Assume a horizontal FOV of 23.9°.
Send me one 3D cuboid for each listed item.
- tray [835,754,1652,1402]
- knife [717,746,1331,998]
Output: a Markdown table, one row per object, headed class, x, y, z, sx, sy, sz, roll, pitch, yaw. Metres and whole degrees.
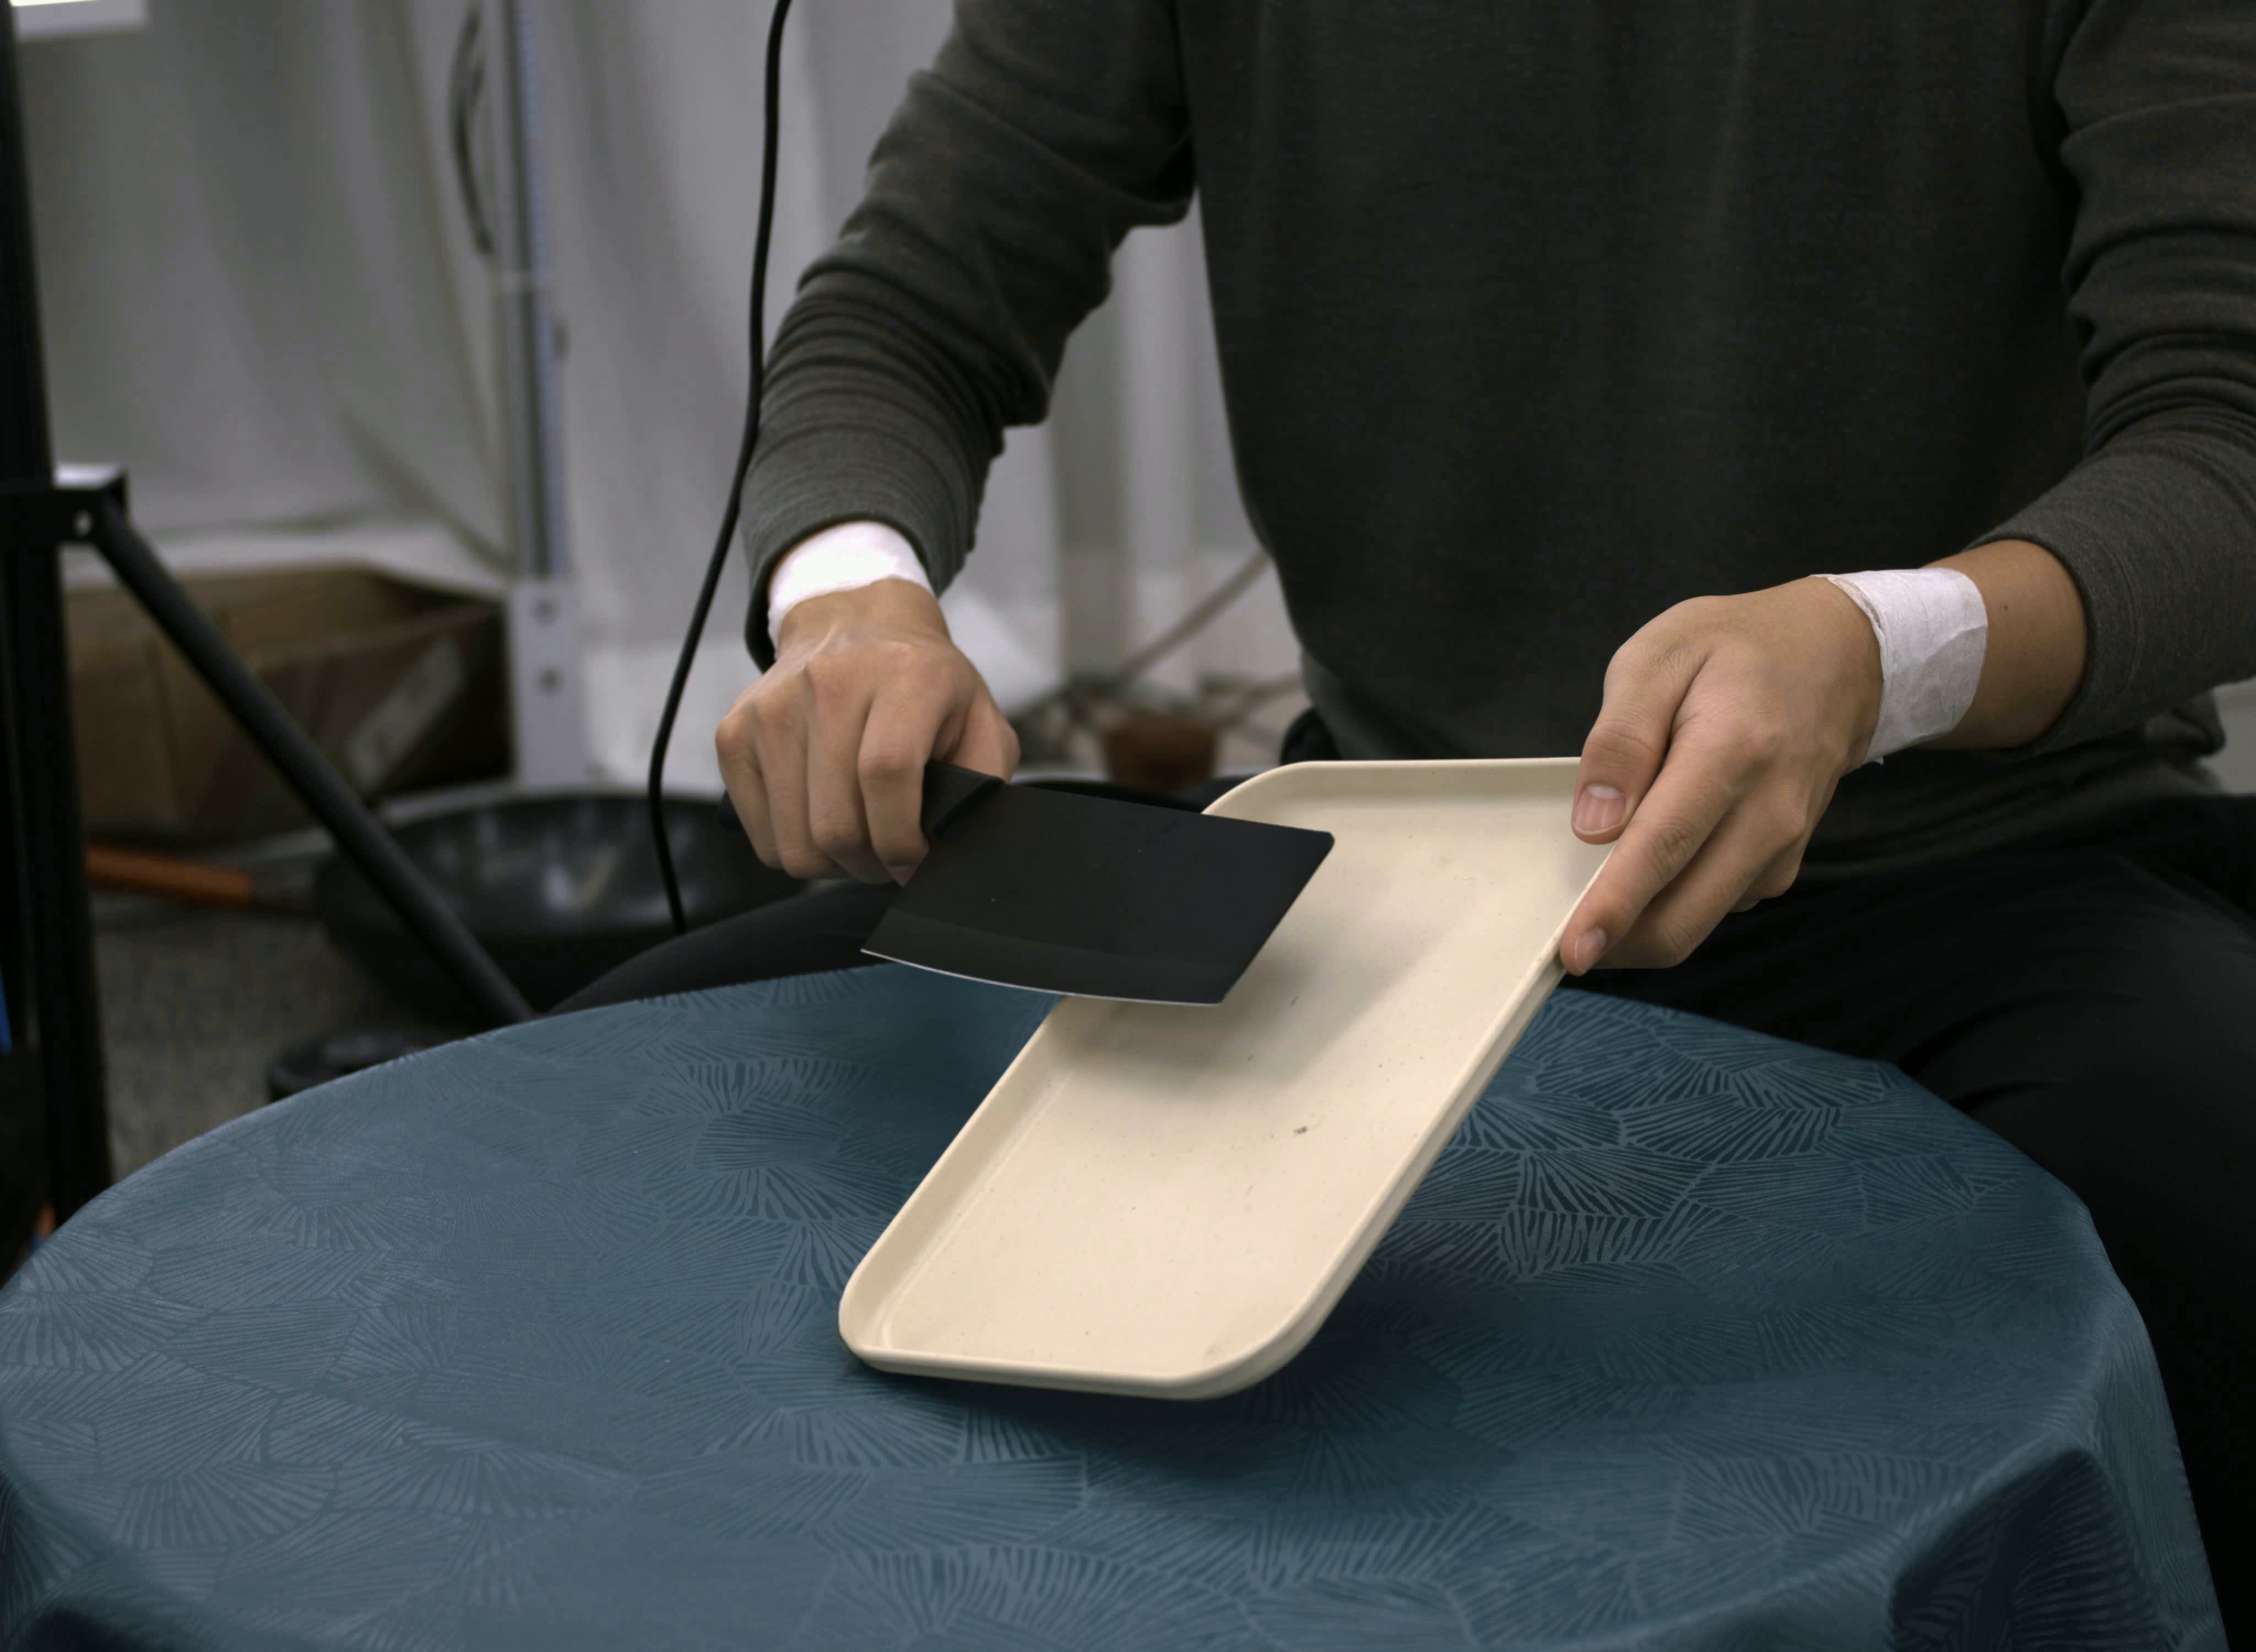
| class | x | y | z | sx | sy | sz | roll | pitch | yaw |
| --- | --- | --- | --- | --- | --- | --- | --- | --- | --- |
| tray | 0.034 | 0.067 | 1.446 | 0.175 | 0.017 | 0.238 | 0 | 43 | 45 |
| knife | -0.042 | 0.011 | 1.571 | 0.080 | 0.020 | 0.309 | -52 | 29 | -14 |
